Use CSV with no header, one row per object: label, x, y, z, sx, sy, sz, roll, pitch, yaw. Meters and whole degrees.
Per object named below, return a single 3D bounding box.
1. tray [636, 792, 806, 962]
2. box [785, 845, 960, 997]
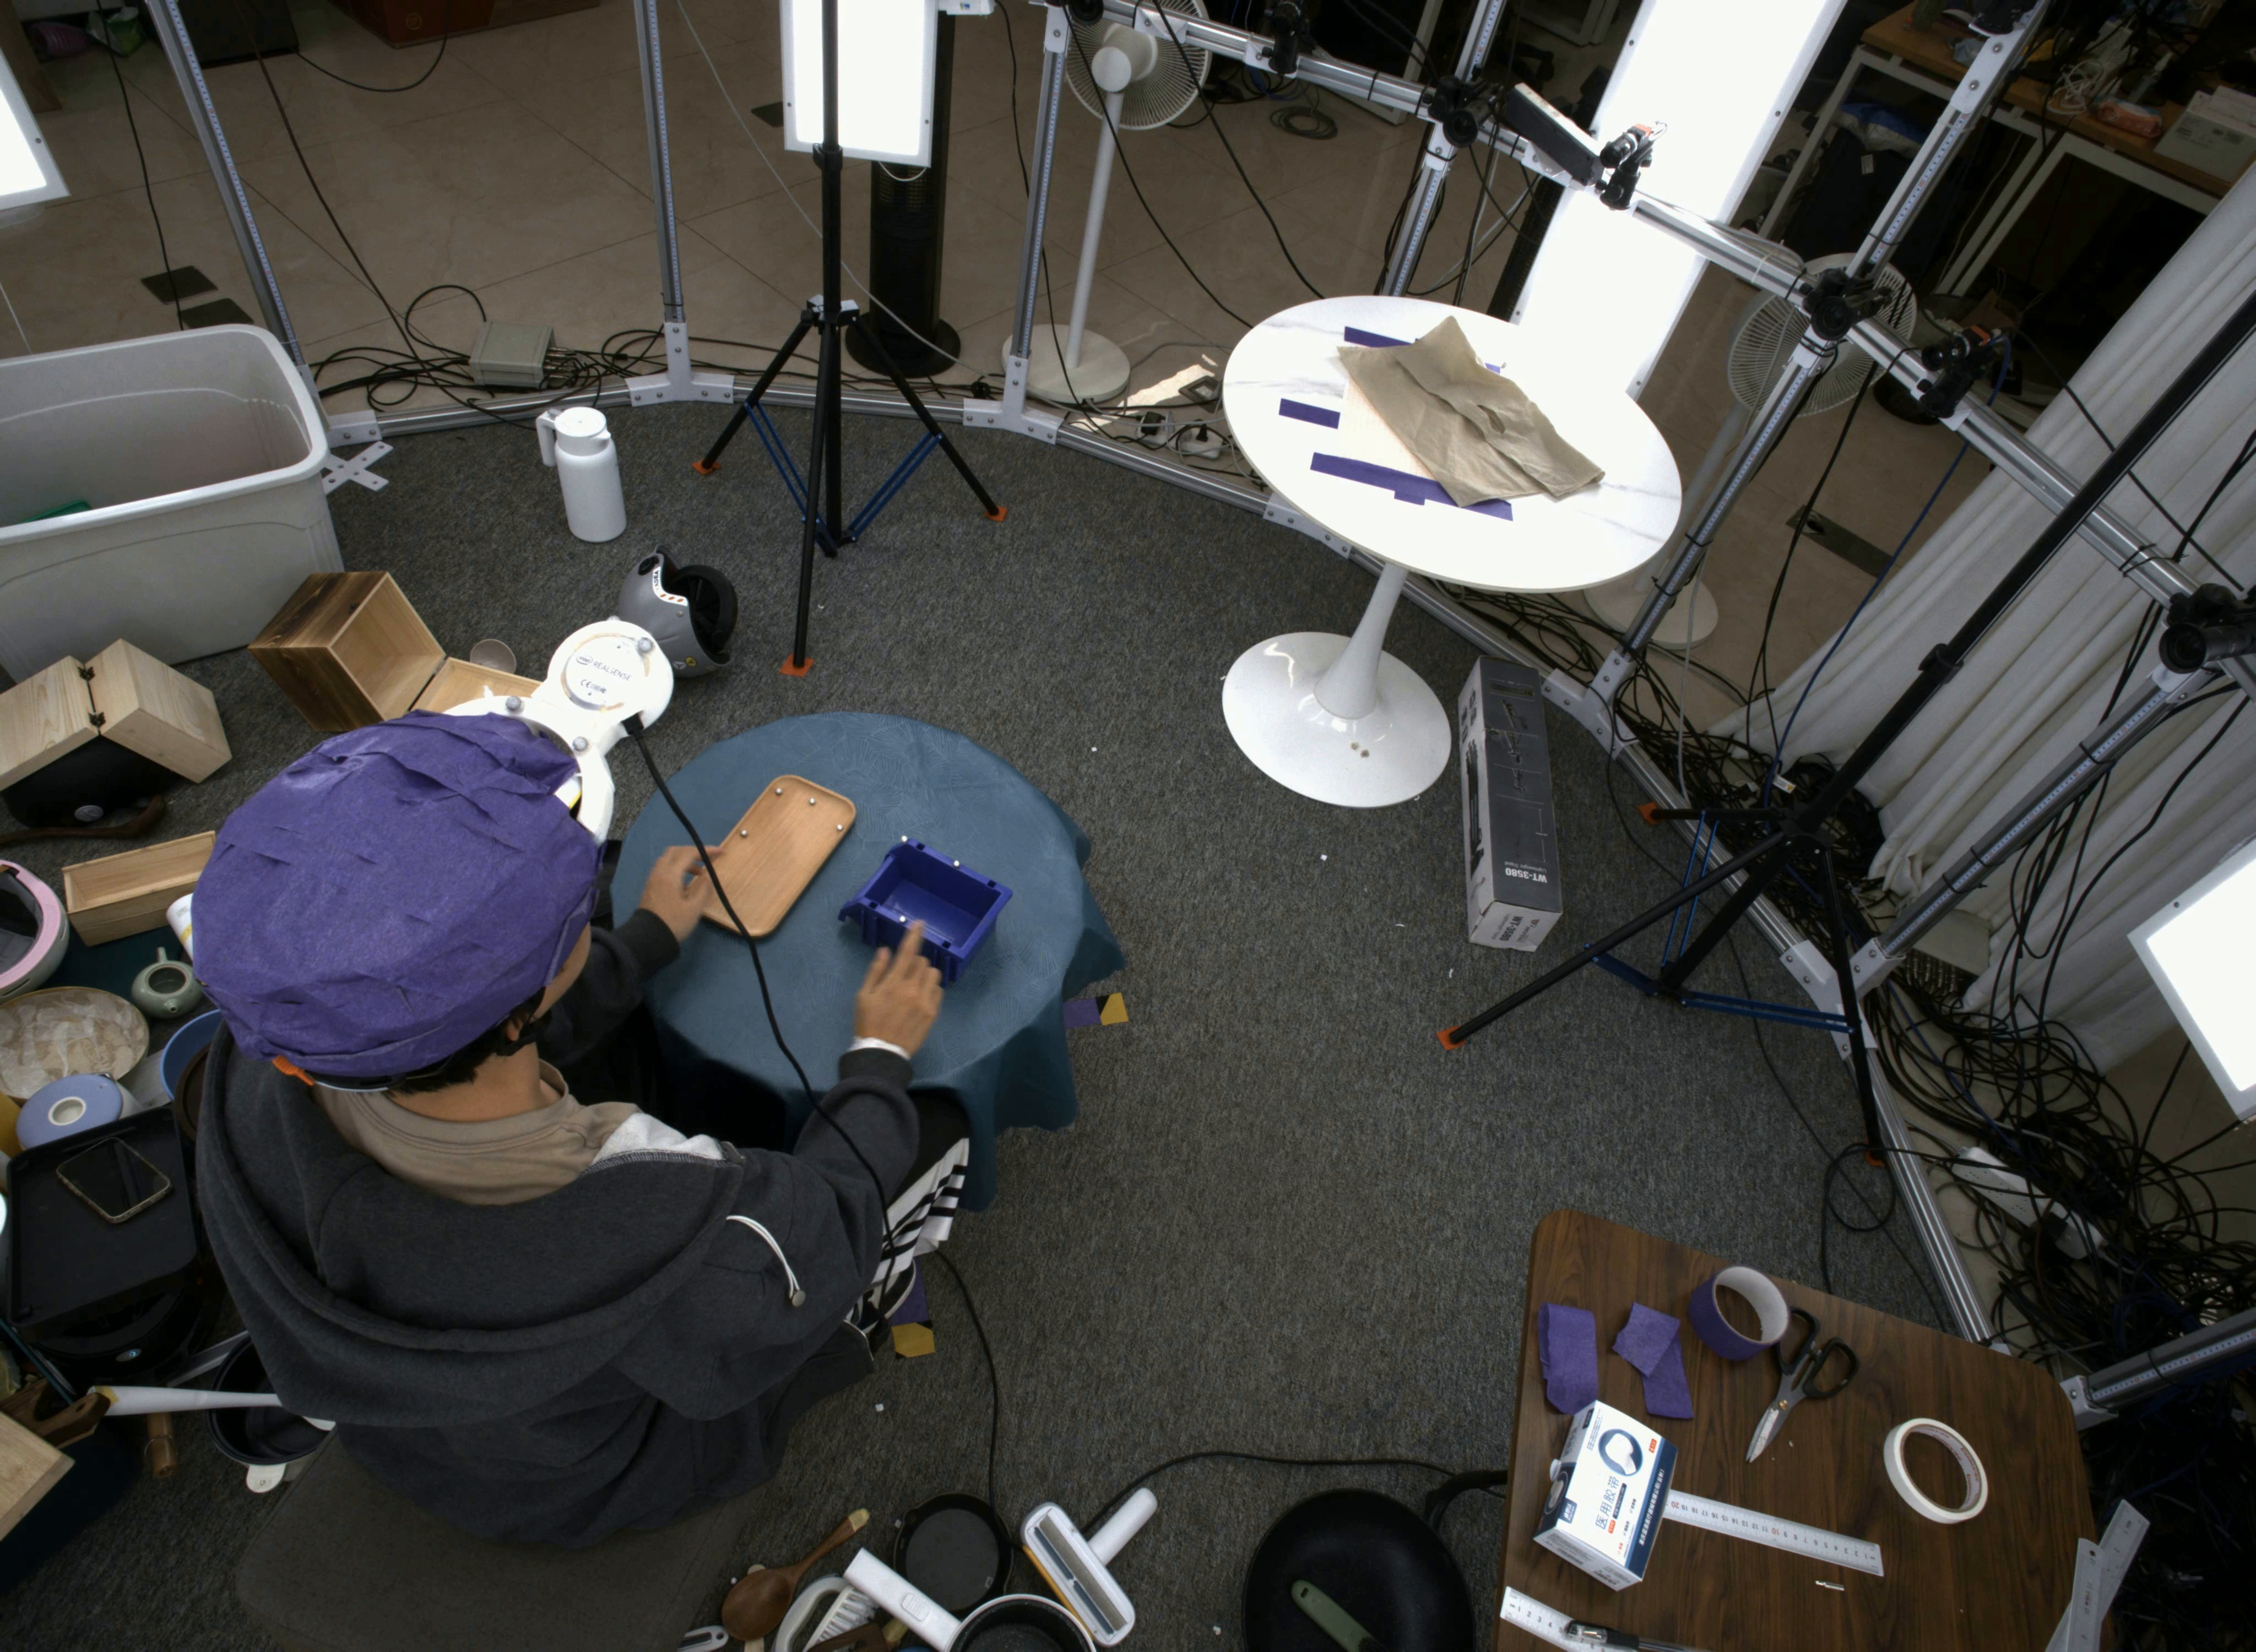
tray,-0.516,0.060,1.648,0.129,0.023,0.248,21,52,5
box,-0.320,0.114,1.618,0.177,0.083,0.124,28,52,4
